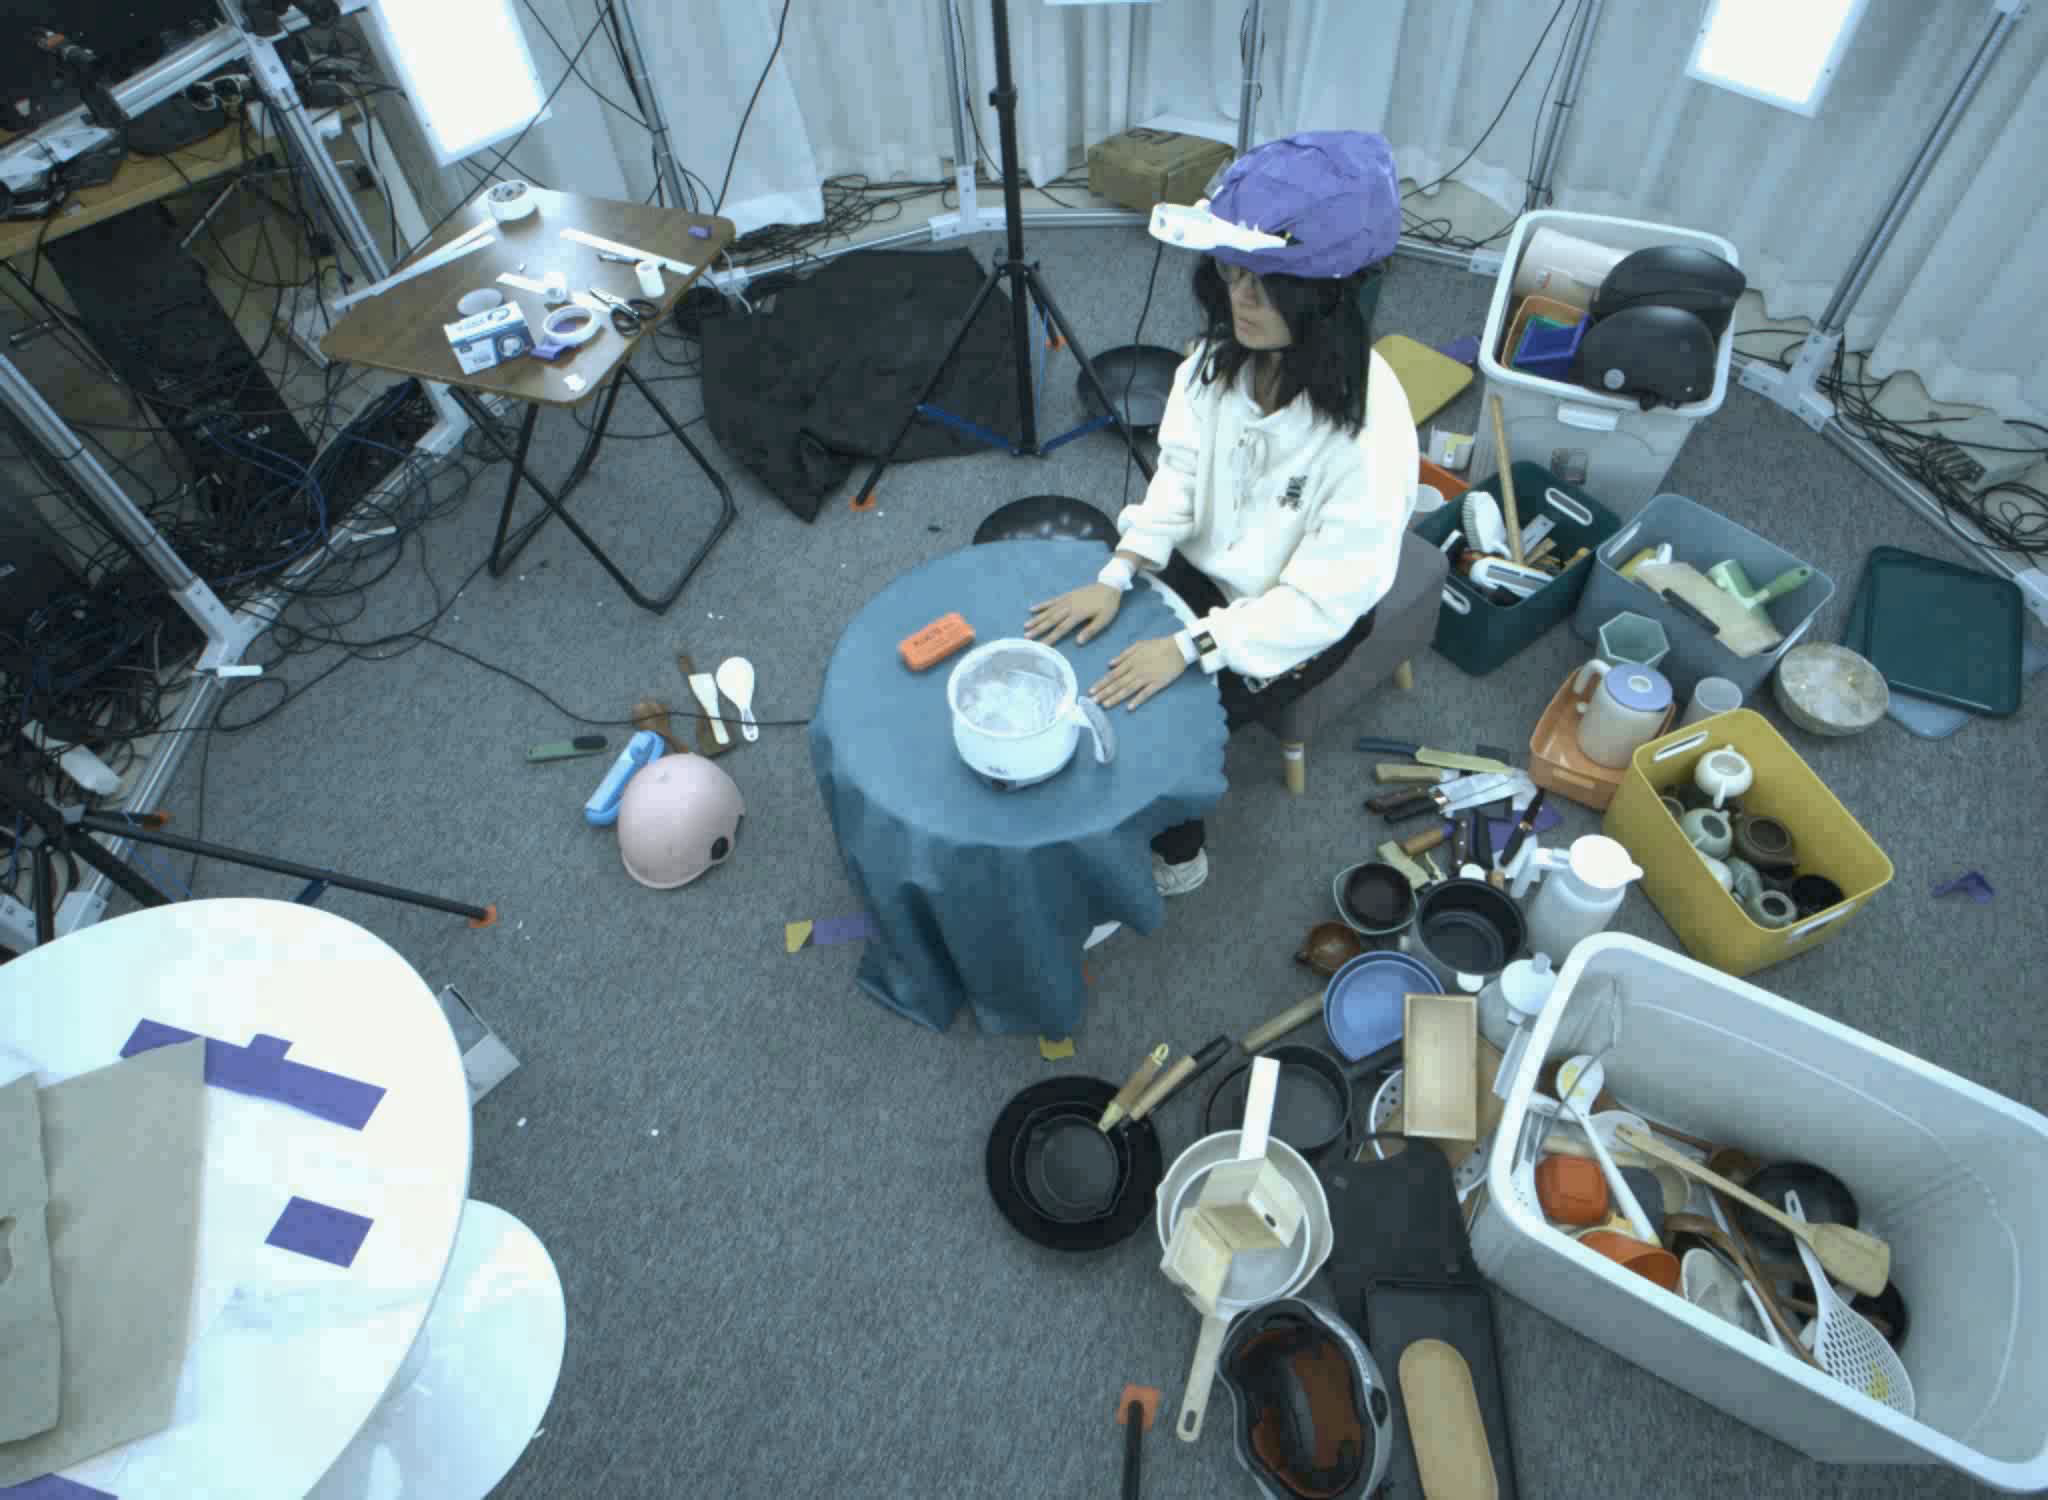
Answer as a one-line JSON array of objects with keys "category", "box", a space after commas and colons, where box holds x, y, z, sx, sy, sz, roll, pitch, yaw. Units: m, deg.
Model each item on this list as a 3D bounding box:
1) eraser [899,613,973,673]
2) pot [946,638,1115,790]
[{"category": "eraser", "box": [-0.136, -0.166, 1.895, 0.109, 0.023, 0.058, -32, 63, -19]}, {"category": "pot", "box": [0.013, -0.045, 1.732, 0.232, 0.138, 0.178, 10, 57, 11]}]
